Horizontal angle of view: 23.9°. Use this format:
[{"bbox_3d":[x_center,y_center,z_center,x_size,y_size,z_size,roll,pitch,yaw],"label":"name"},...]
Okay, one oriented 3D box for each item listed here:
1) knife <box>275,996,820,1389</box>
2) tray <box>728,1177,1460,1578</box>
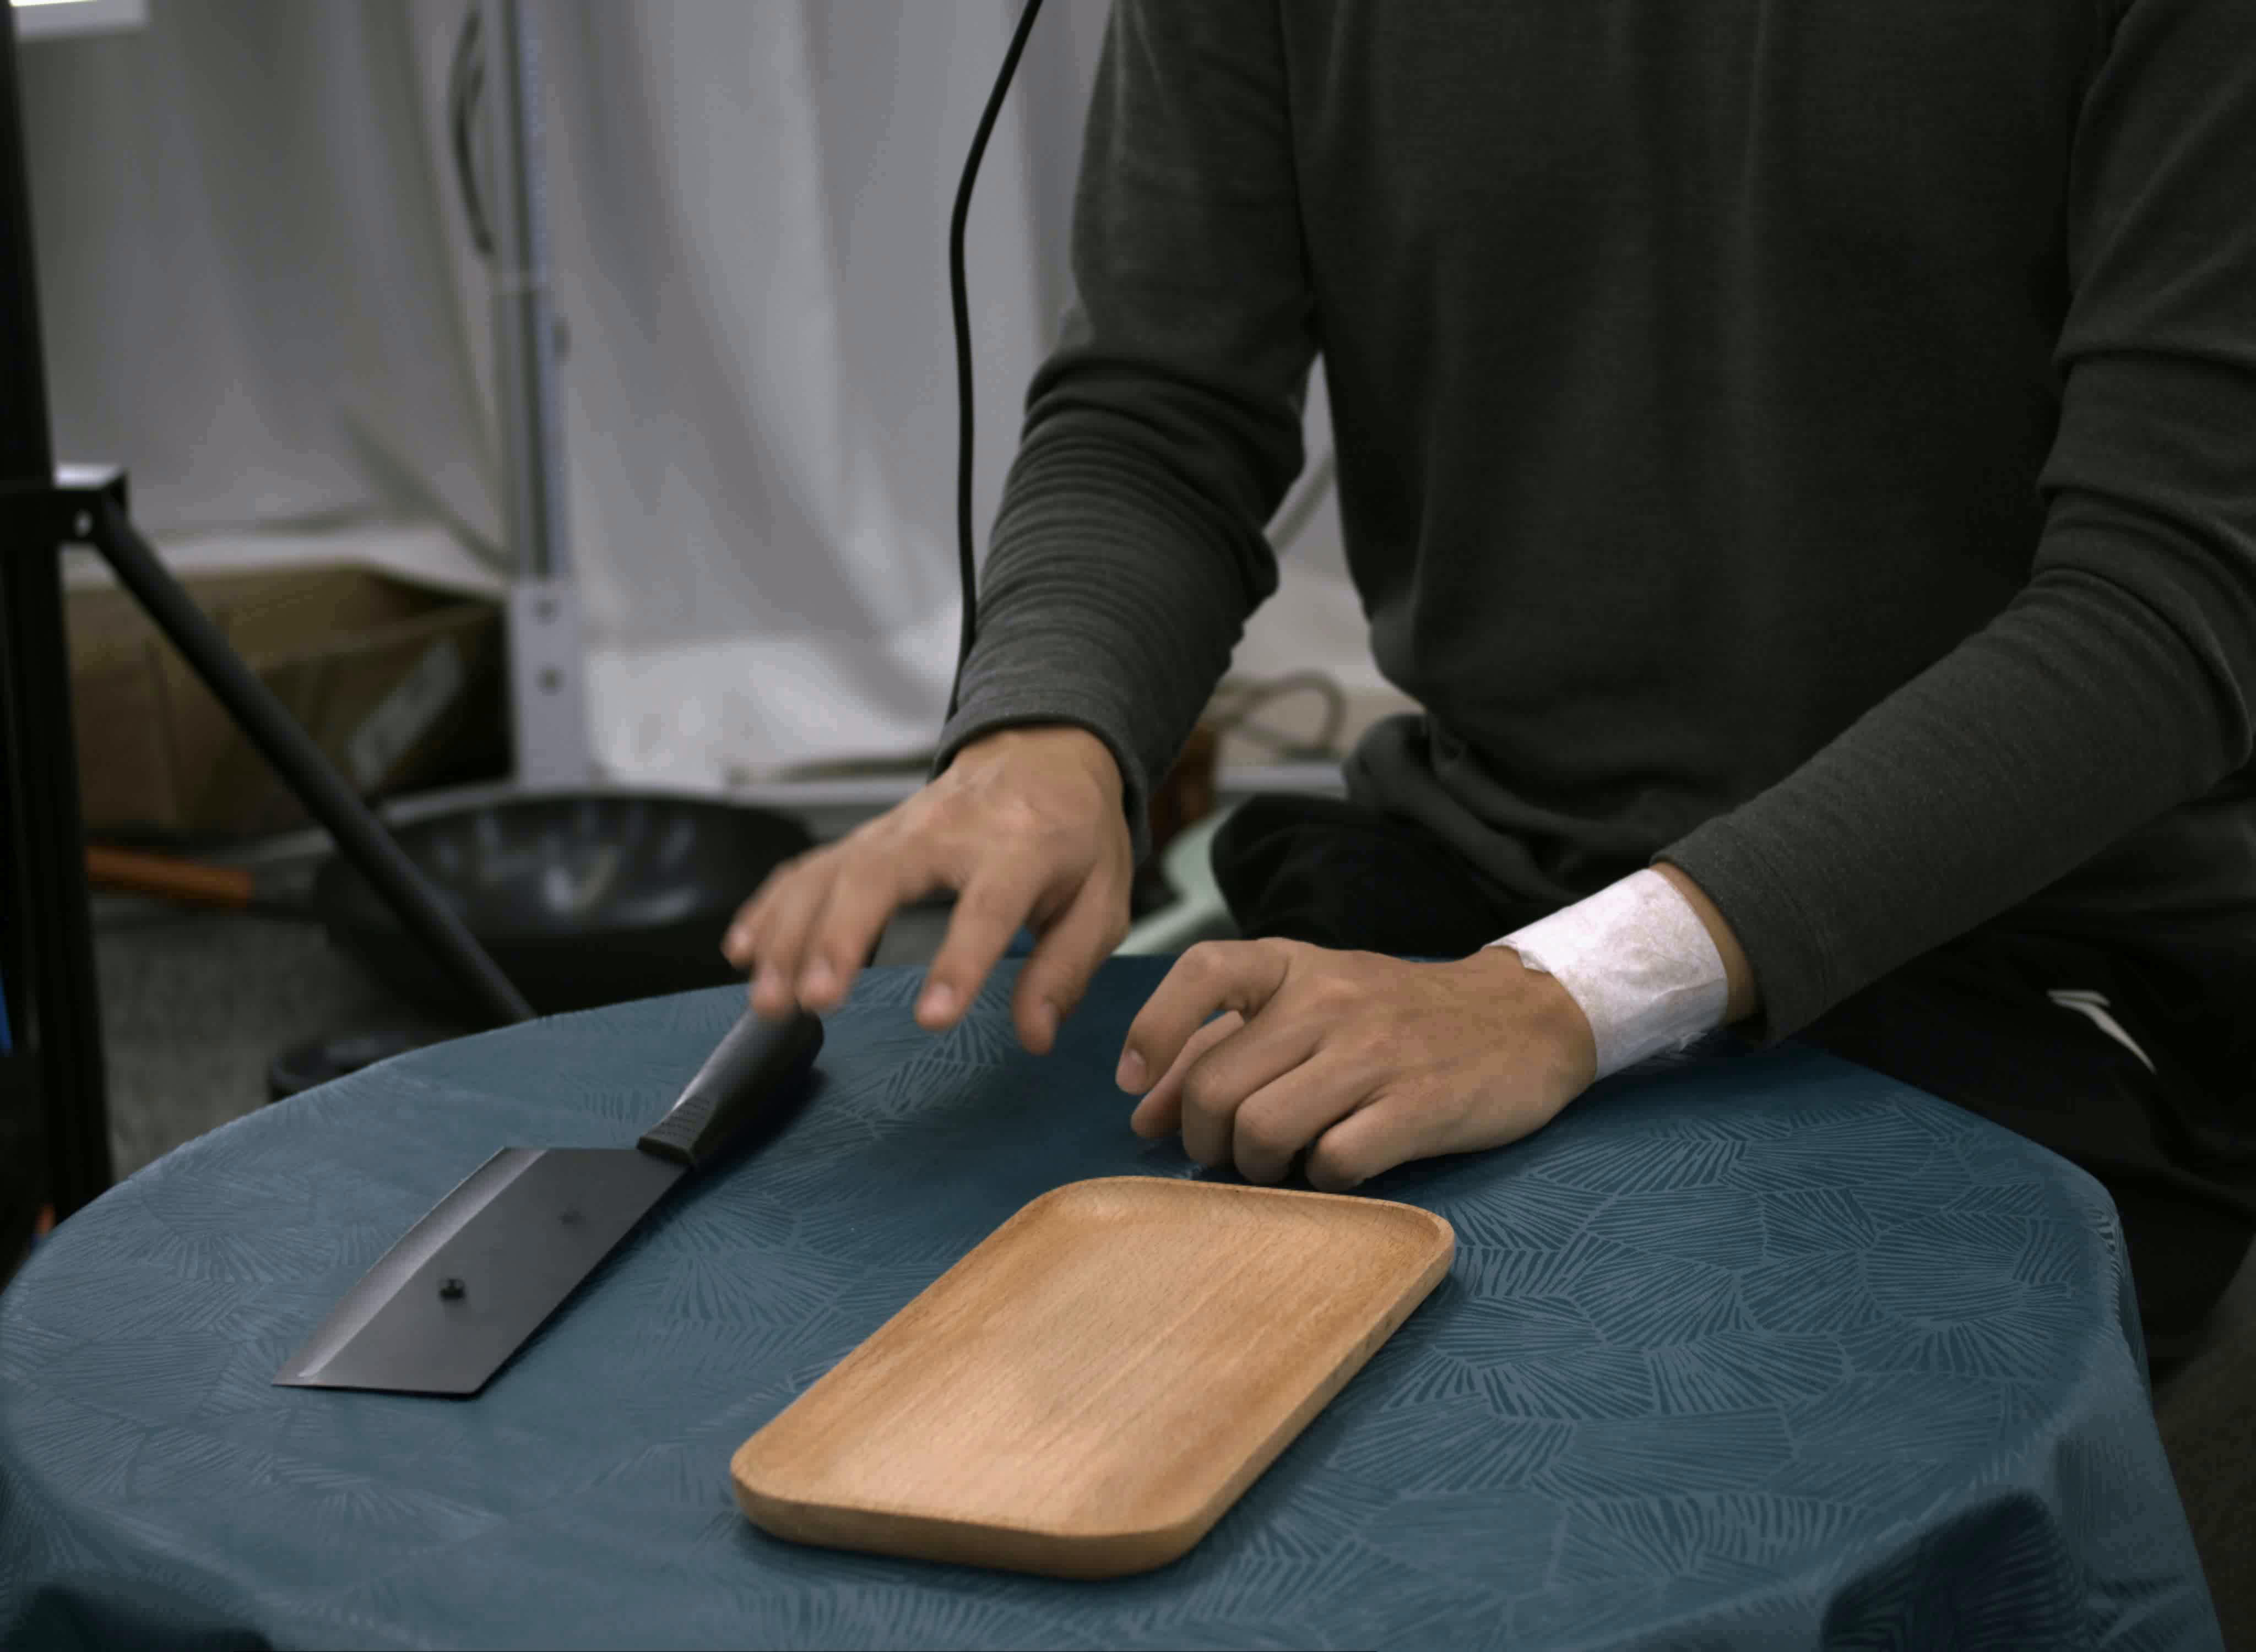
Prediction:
[{"bbox_3d":[-0.161,0.106,1.569,0.082,0.021,0.299,2,18,21],"label":"knife"},{"bbox_3d":[-0.004,0.143,1.409,0.132,0.023,0.247,7,17,22],"label":"tray"}]
